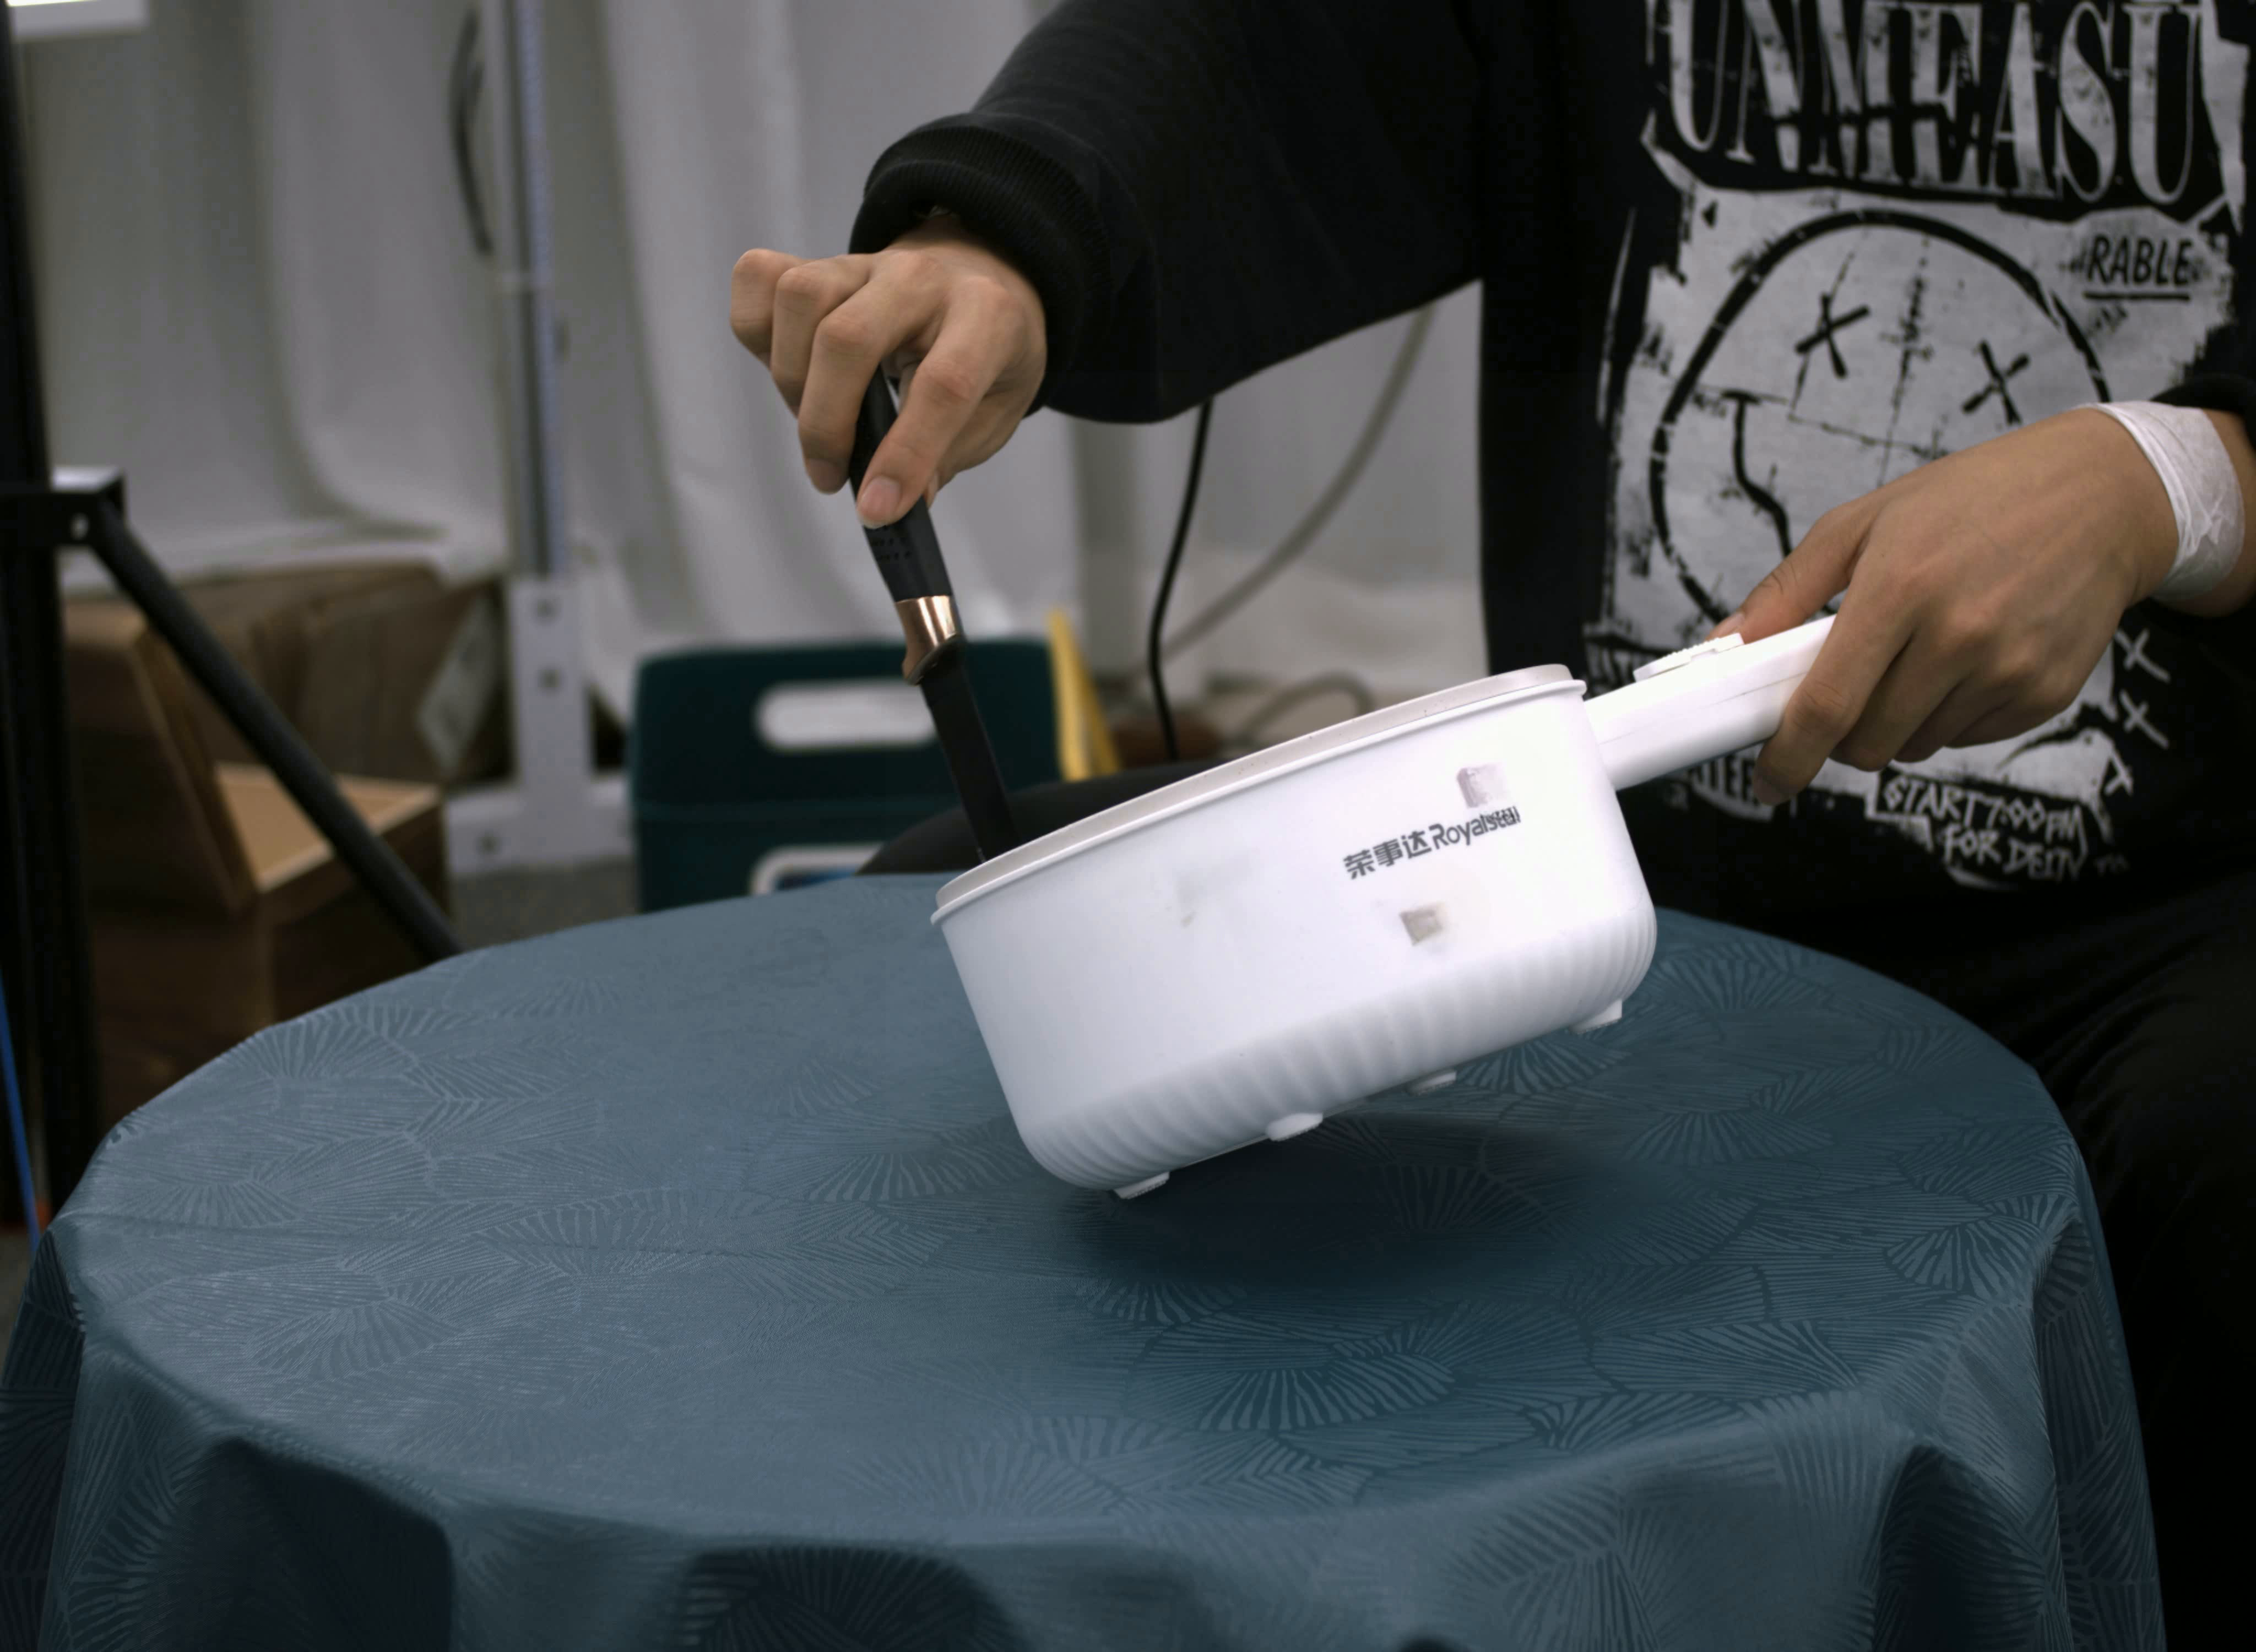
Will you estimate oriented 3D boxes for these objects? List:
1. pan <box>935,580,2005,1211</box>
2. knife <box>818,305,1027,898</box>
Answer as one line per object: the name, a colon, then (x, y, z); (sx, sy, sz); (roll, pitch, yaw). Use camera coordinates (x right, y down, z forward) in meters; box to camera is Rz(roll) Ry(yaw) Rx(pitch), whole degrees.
pan: (0.118, 0.018, 1.556); (0.348, 0.103, 0.203); (-16, -7, -26)
knife: (-0.052, -0.047, 1.531); (0.017, 0.228, 0.026); (4, -29, -46)
